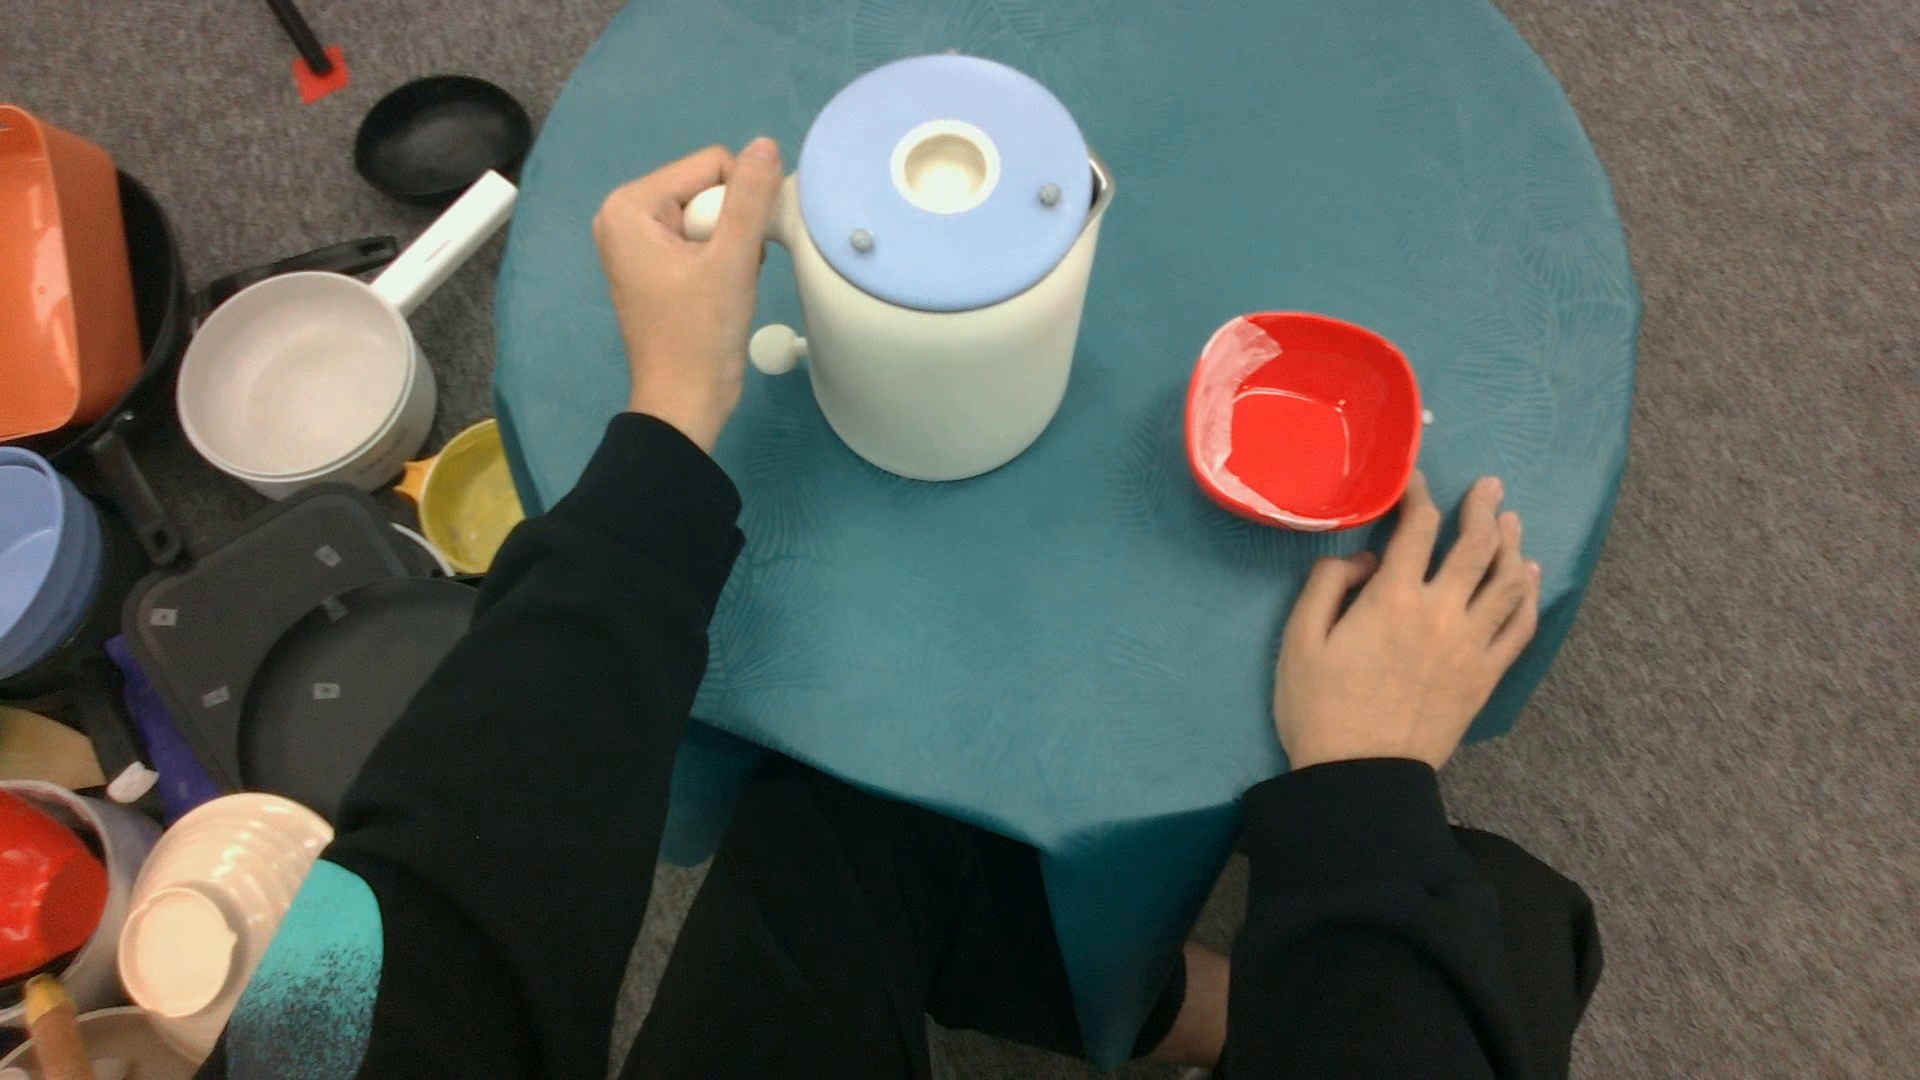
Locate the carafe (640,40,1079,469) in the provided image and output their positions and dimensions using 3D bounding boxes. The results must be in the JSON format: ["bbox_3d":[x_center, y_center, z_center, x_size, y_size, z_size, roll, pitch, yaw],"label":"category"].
[{"bbox_3d":[-0.047,-0.121,0.625,0.191,0.182,0.132,-3,69,-1],"label":"carafe"}]

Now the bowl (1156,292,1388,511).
[{"bbox_3d":[0.146,-0.060,0.672,0.119,0.051,0.119,2,68,-4],"label":"bowl"}]
